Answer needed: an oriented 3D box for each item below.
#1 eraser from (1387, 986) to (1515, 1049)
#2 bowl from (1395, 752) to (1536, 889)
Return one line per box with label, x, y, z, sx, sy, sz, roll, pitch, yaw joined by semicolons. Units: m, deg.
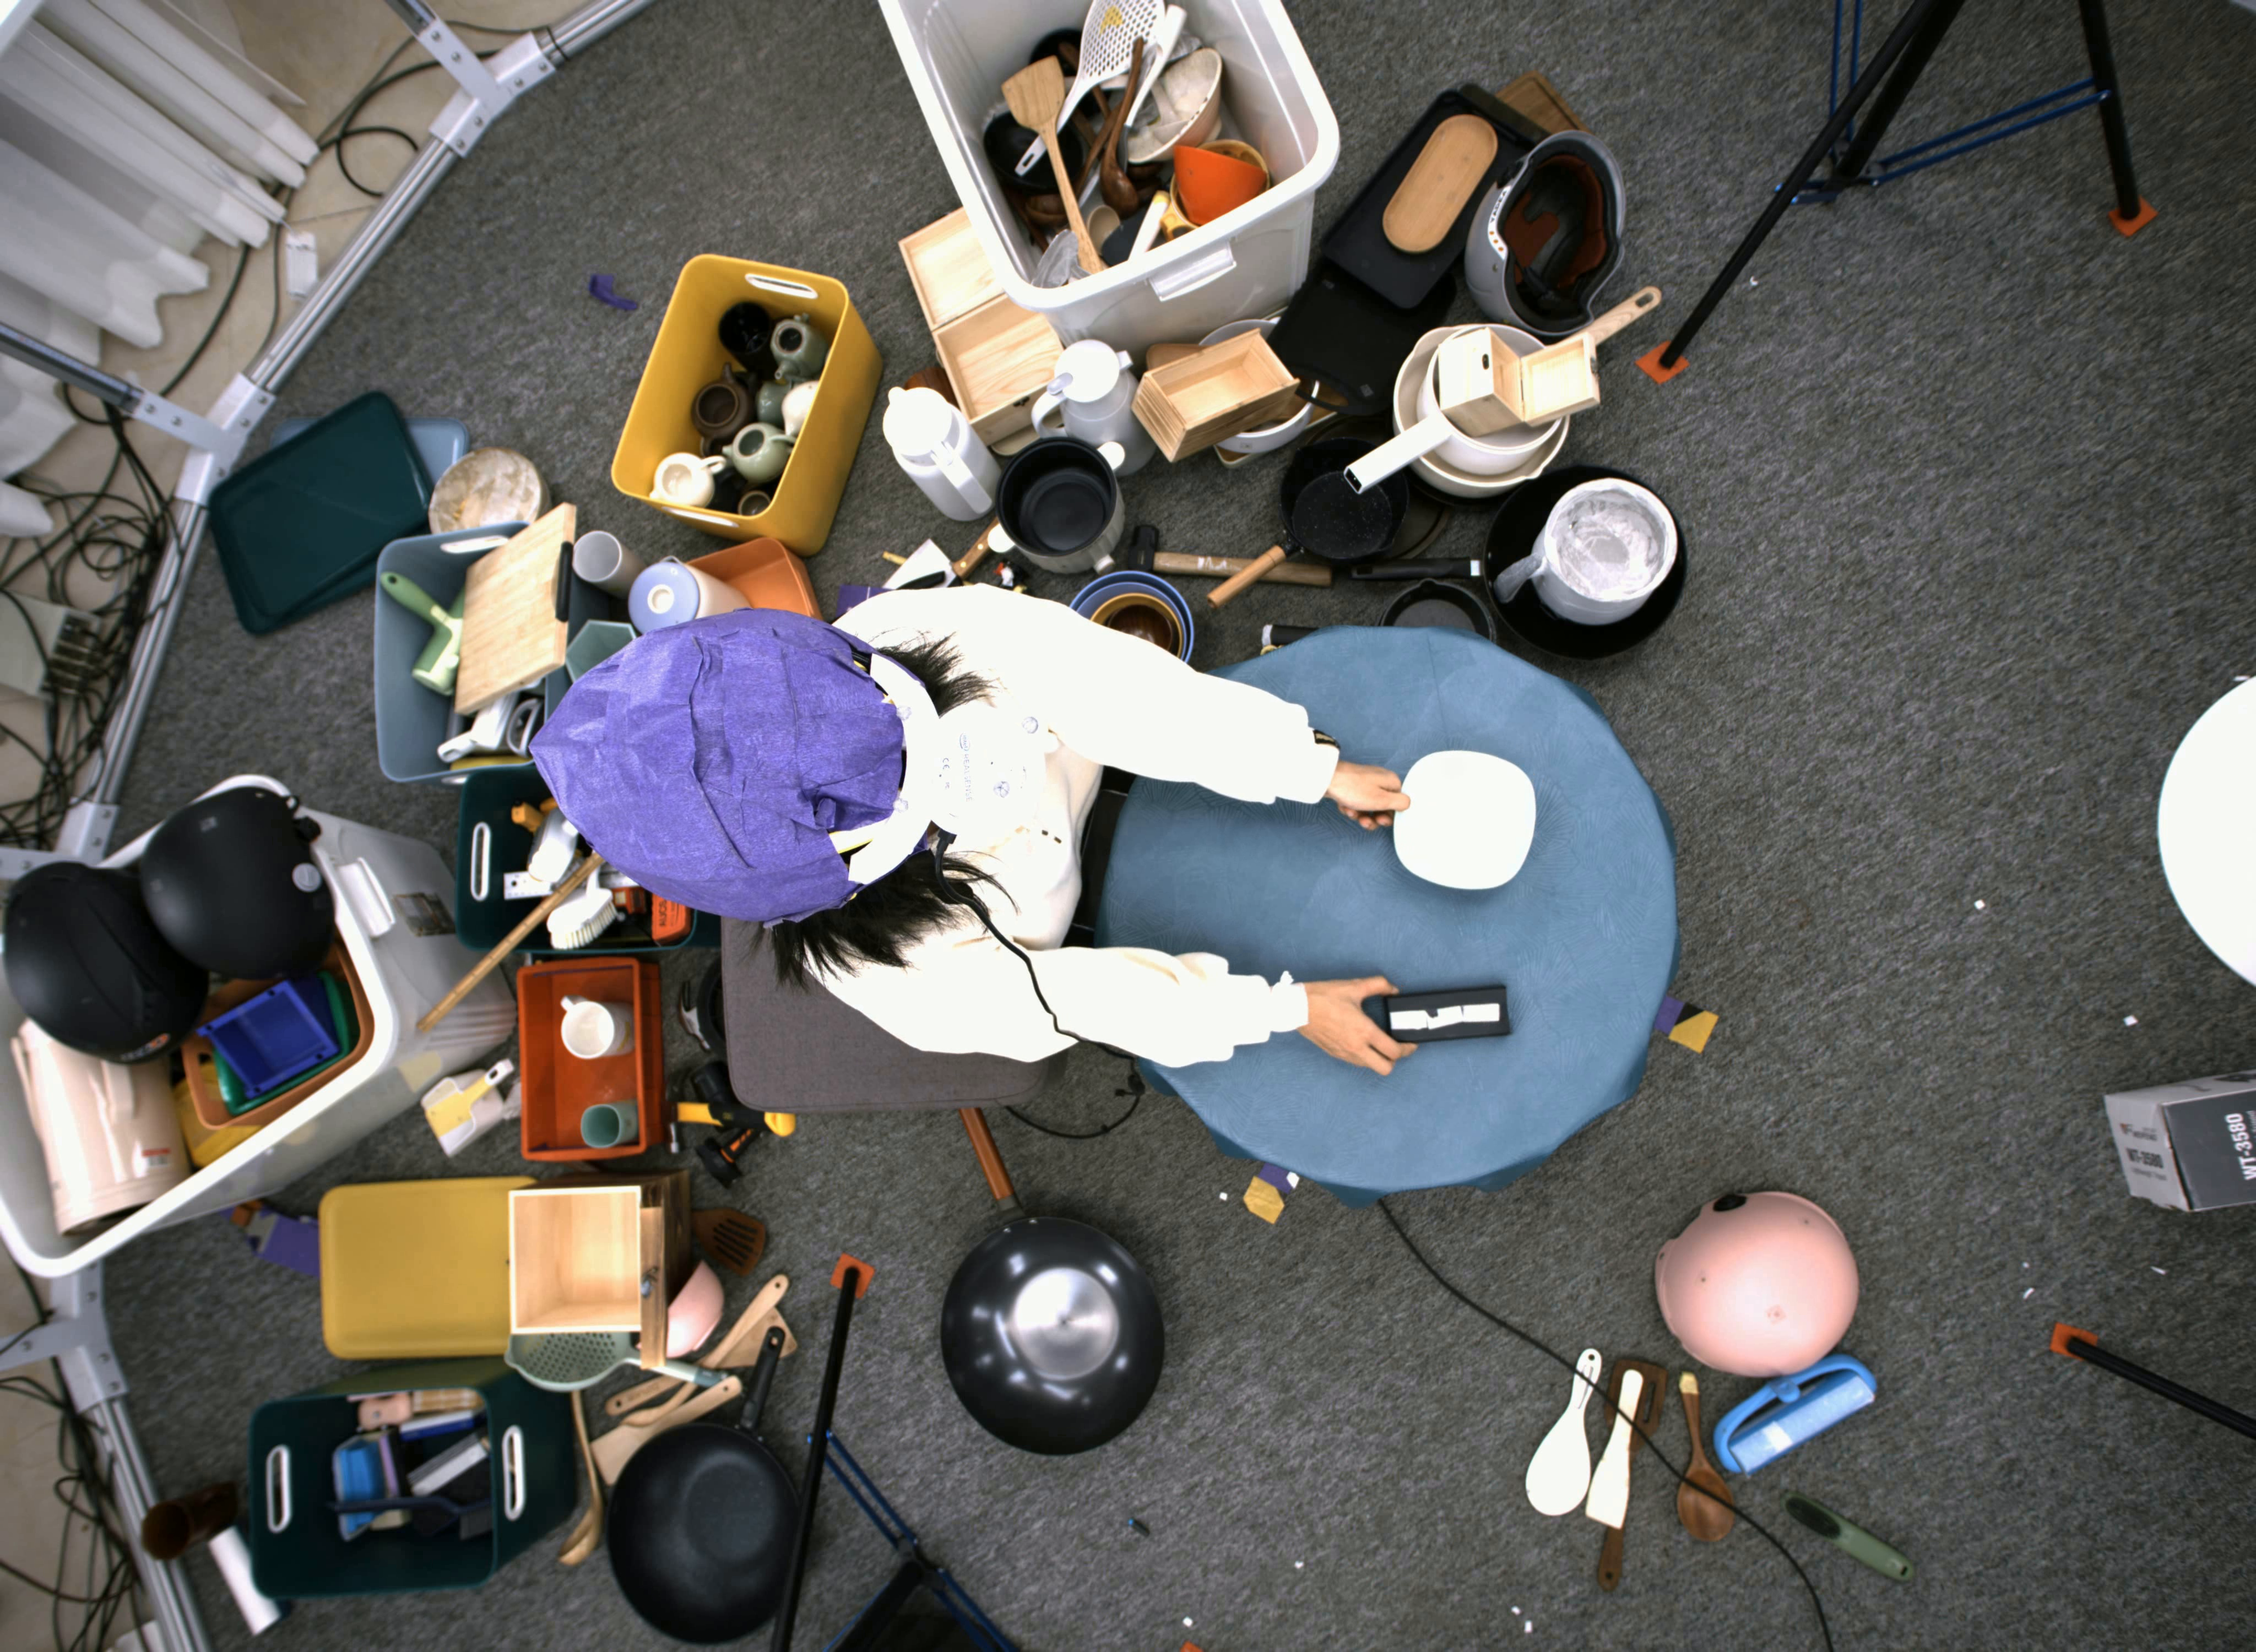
eraser;0.333;0.195;1.427;0.126;0.030;0.053;-7;85;11
bowl;0.348;-0.005;1.416;0.152;0.058;0.150;-2;84;16
